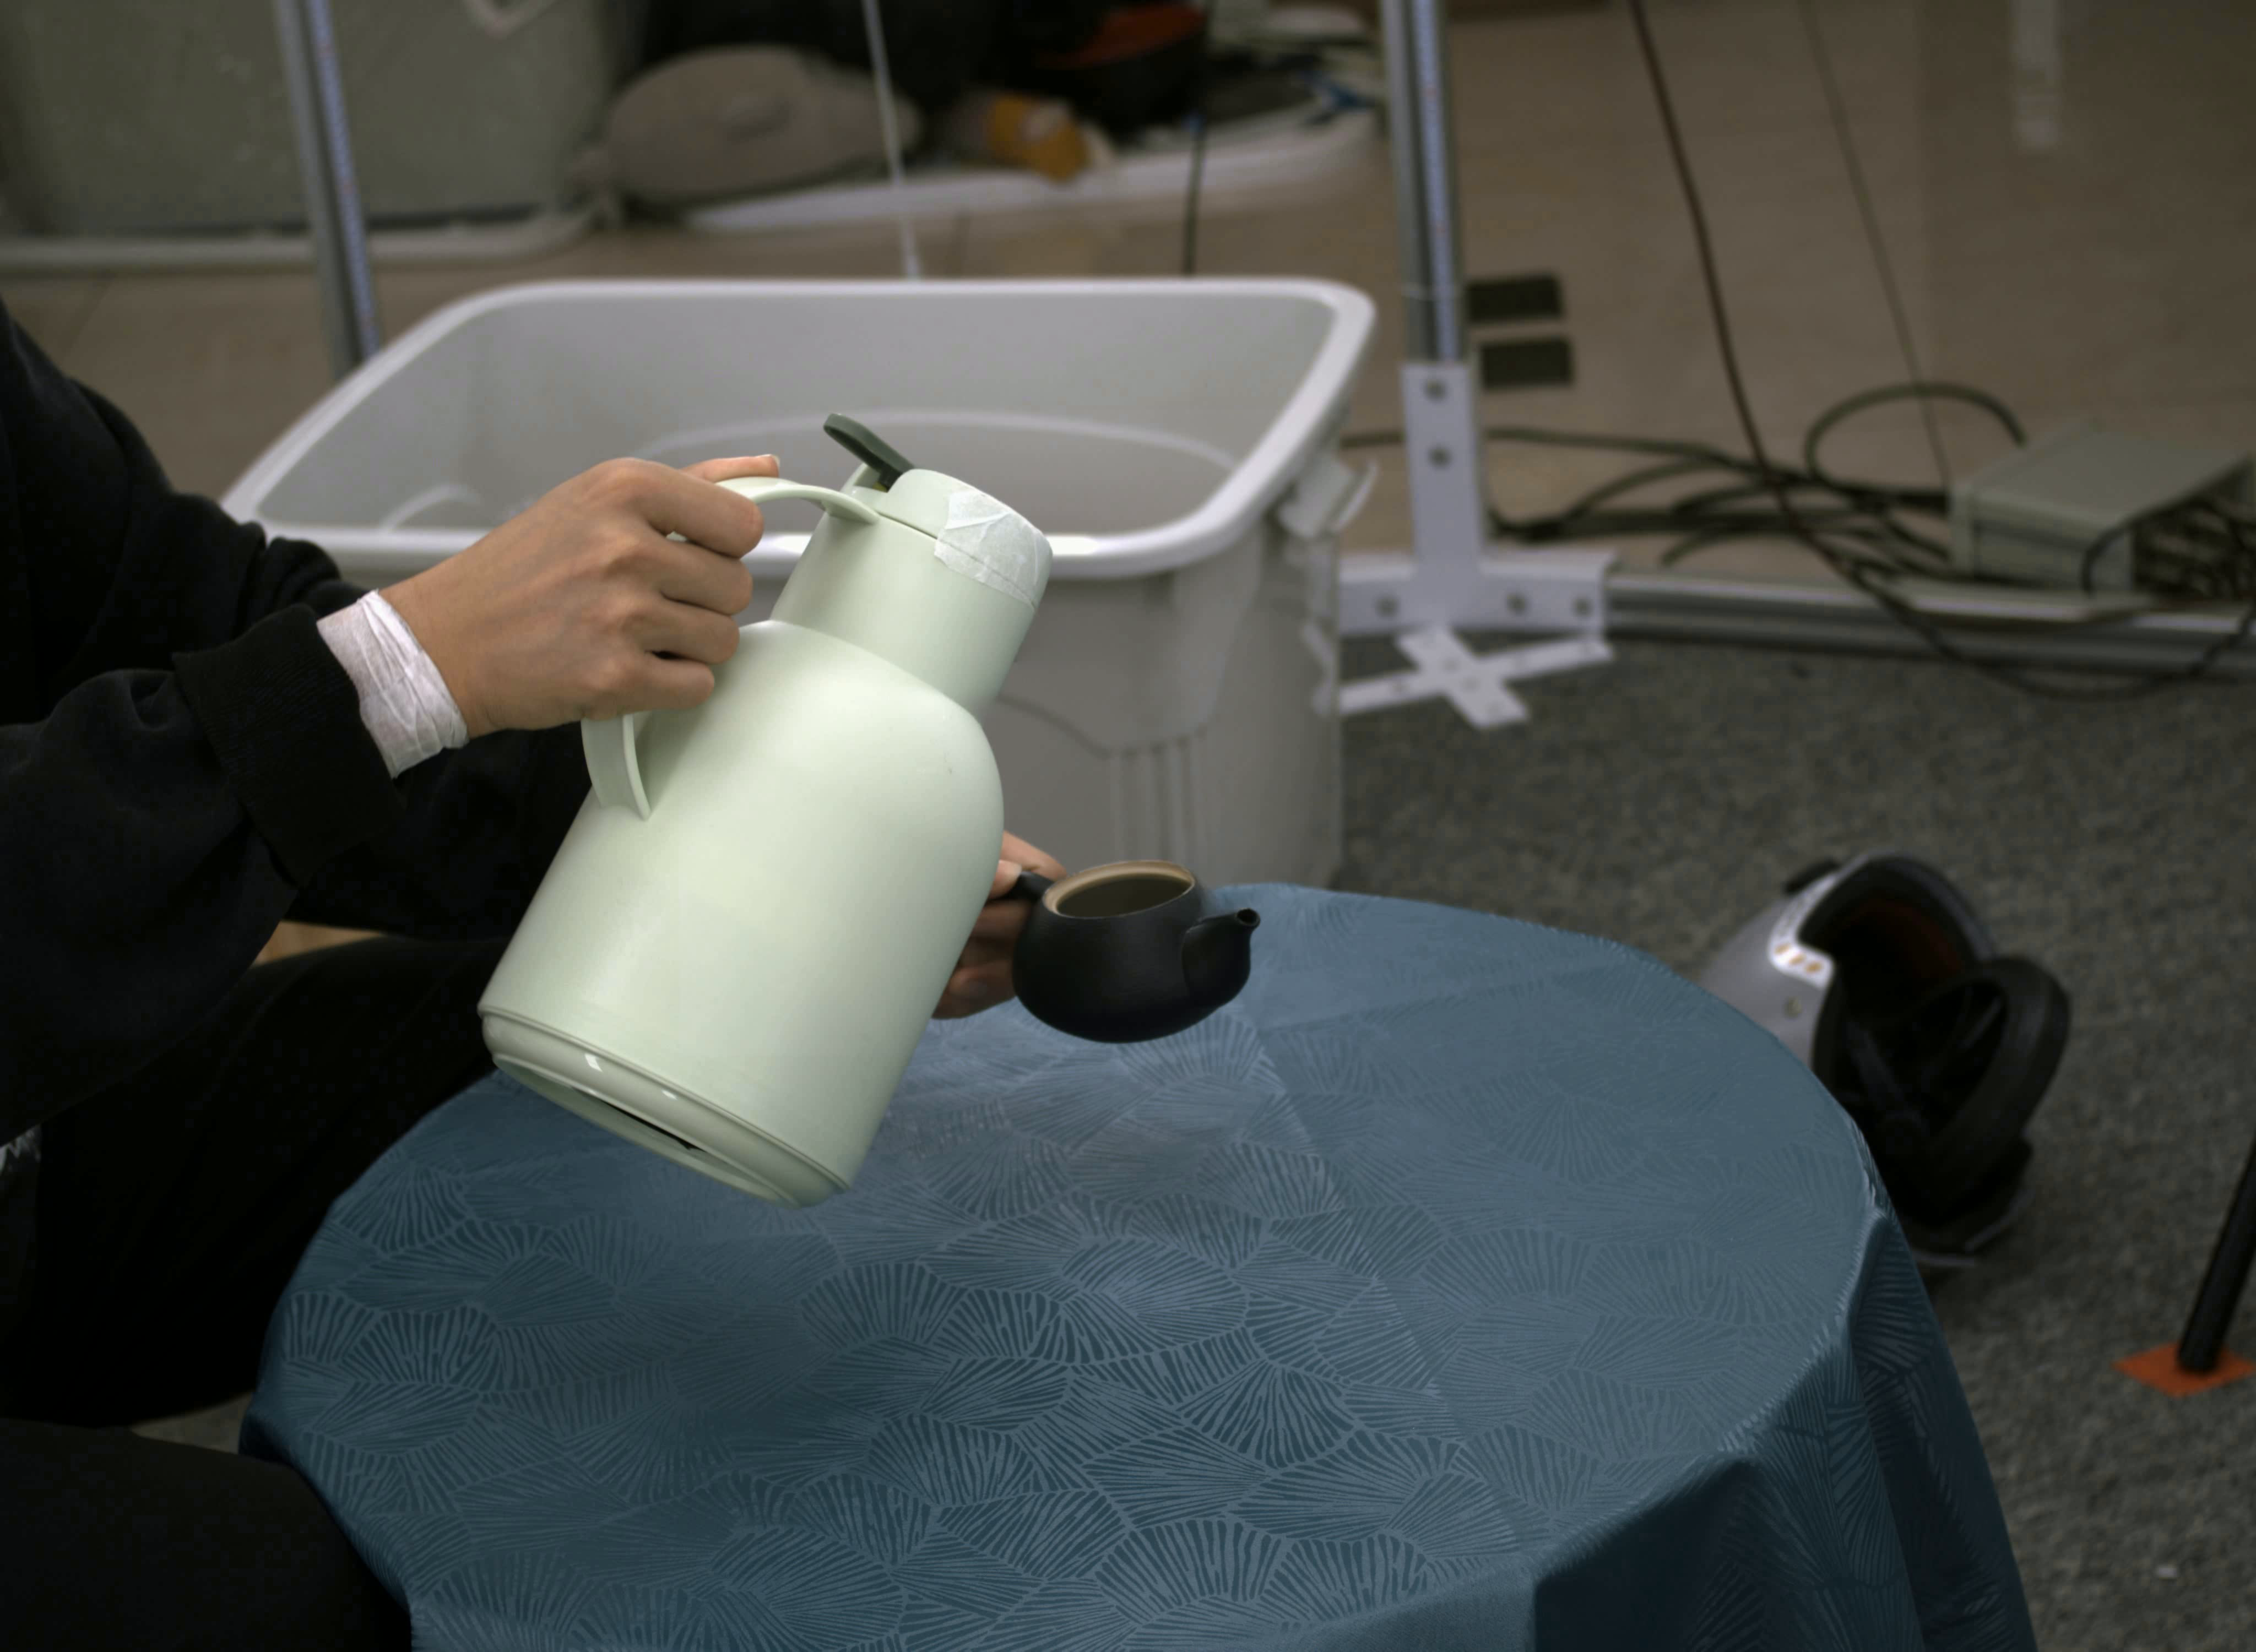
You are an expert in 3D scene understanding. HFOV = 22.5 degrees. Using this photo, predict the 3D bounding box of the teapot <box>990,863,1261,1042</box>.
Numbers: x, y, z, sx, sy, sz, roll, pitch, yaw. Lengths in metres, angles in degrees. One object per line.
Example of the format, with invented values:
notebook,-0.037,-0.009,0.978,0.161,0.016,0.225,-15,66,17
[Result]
teapot,0.000,0.048,2.135,0.132,0.054,0.090,10,26,39

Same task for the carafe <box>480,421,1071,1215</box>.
carafe,-0.123,-0.008,1.979,0.188,0.256,0.143,28,-7,-42
